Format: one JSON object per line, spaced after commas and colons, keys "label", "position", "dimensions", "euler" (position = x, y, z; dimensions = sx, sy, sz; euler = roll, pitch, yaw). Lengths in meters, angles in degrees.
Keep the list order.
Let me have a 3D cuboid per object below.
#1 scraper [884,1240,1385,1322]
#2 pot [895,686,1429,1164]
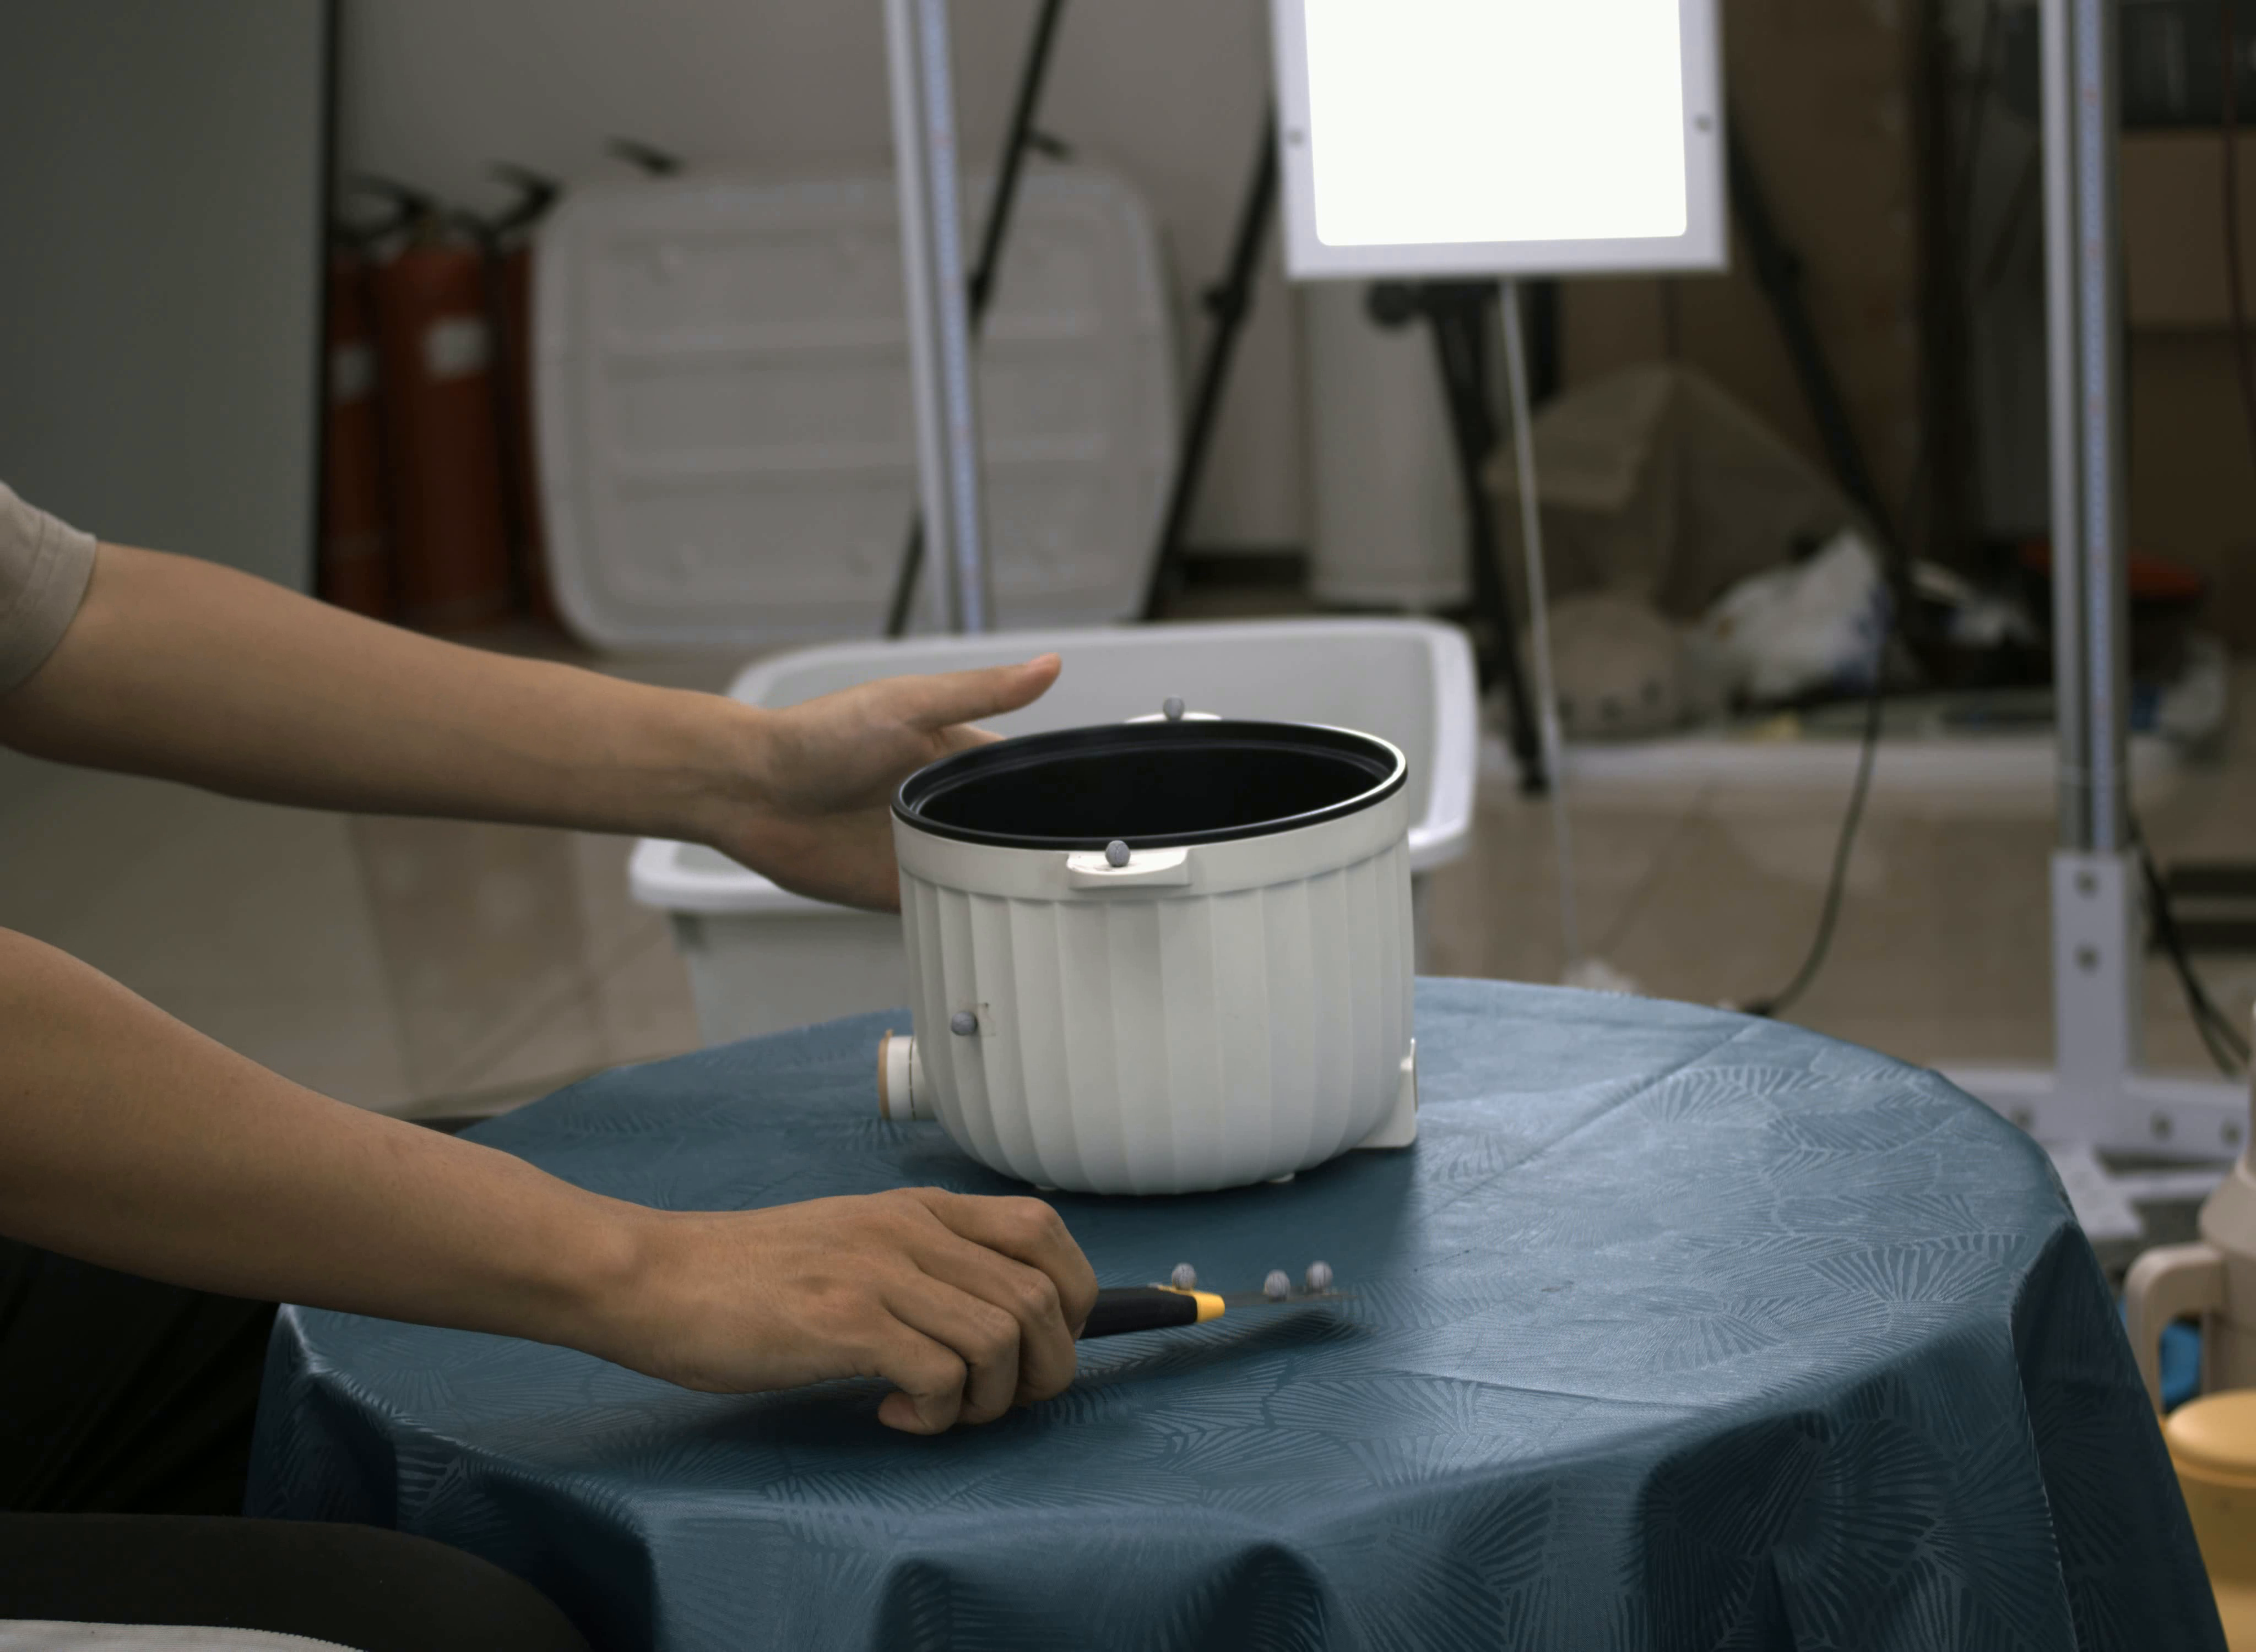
{"label": "scraper", "position": [0.002, 0.141, 1.723], "dimensions": [0.167, 0.015, 0.039], "euler": [-2, 6, -27]}
{"label": "pot", "position": [0.012, 0.038, 1.942], "dimensions": [0.191, 0.143, 0.239], "euler": [0, 13, 5]}
